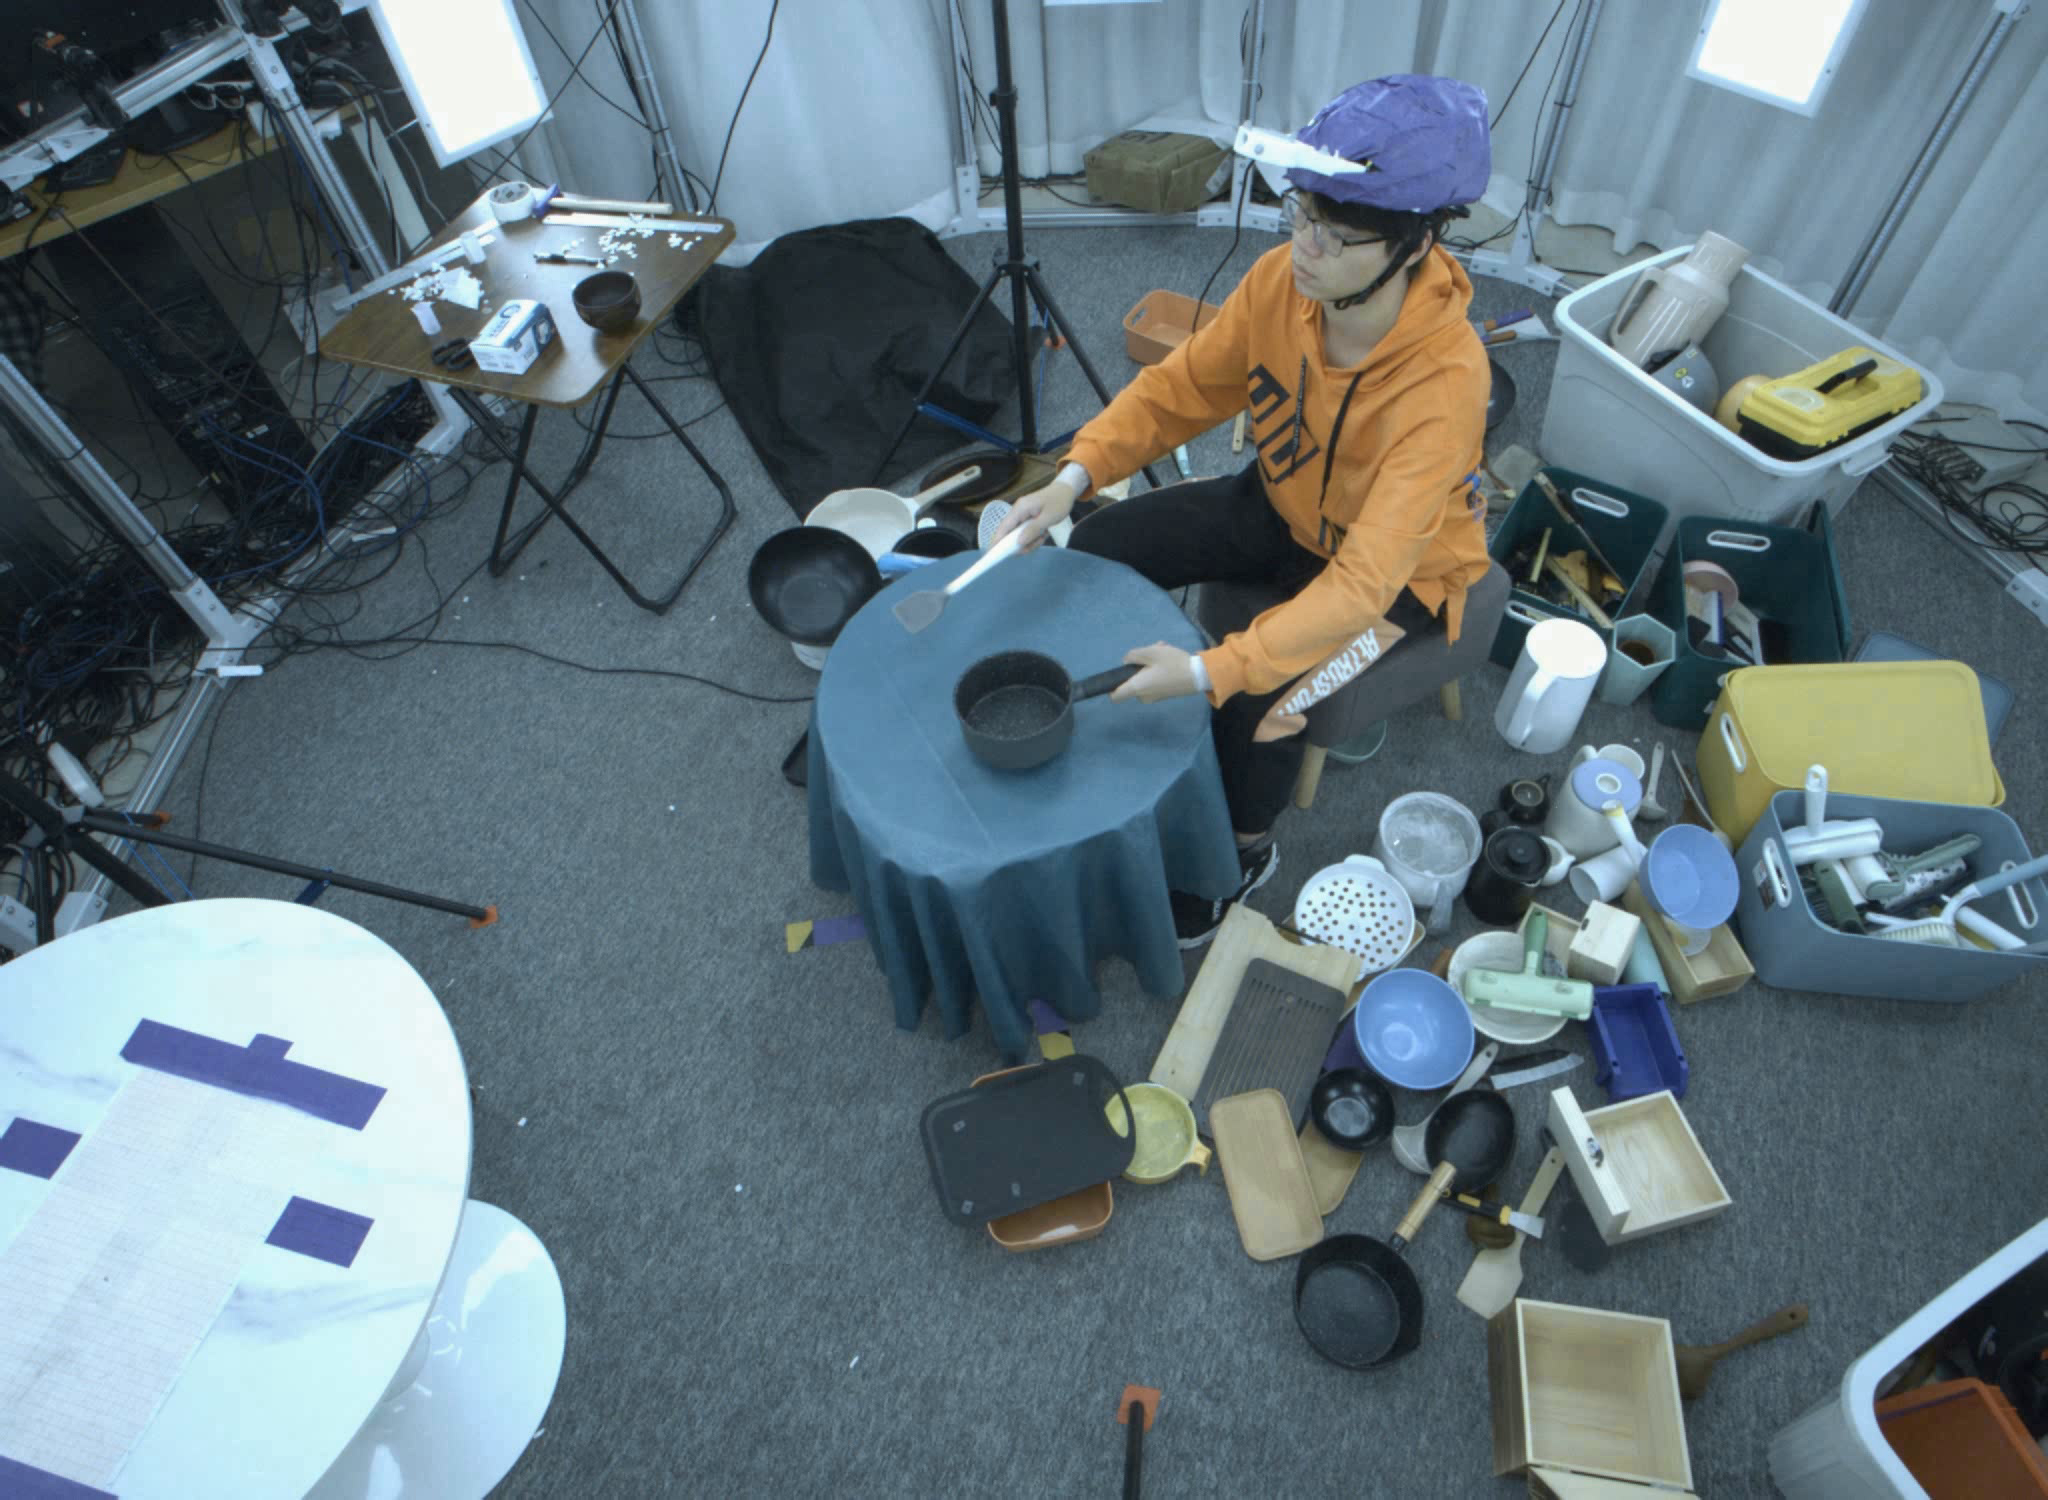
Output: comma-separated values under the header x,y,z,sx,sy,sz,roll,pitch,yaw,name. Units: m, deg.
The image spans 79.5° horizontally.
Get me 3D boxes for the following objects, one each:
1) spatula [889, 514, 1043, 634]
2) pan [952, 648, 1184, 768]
x,y,z,sx,sy,sz,roll,pitch,yaw,name
-0.082,-0.264,1.814,0.290,0.032,0.059,-40,95,-26,spatula
0.065,-0.074,1.754,0.329,0.087,0.169,-10,53,-1,pan
